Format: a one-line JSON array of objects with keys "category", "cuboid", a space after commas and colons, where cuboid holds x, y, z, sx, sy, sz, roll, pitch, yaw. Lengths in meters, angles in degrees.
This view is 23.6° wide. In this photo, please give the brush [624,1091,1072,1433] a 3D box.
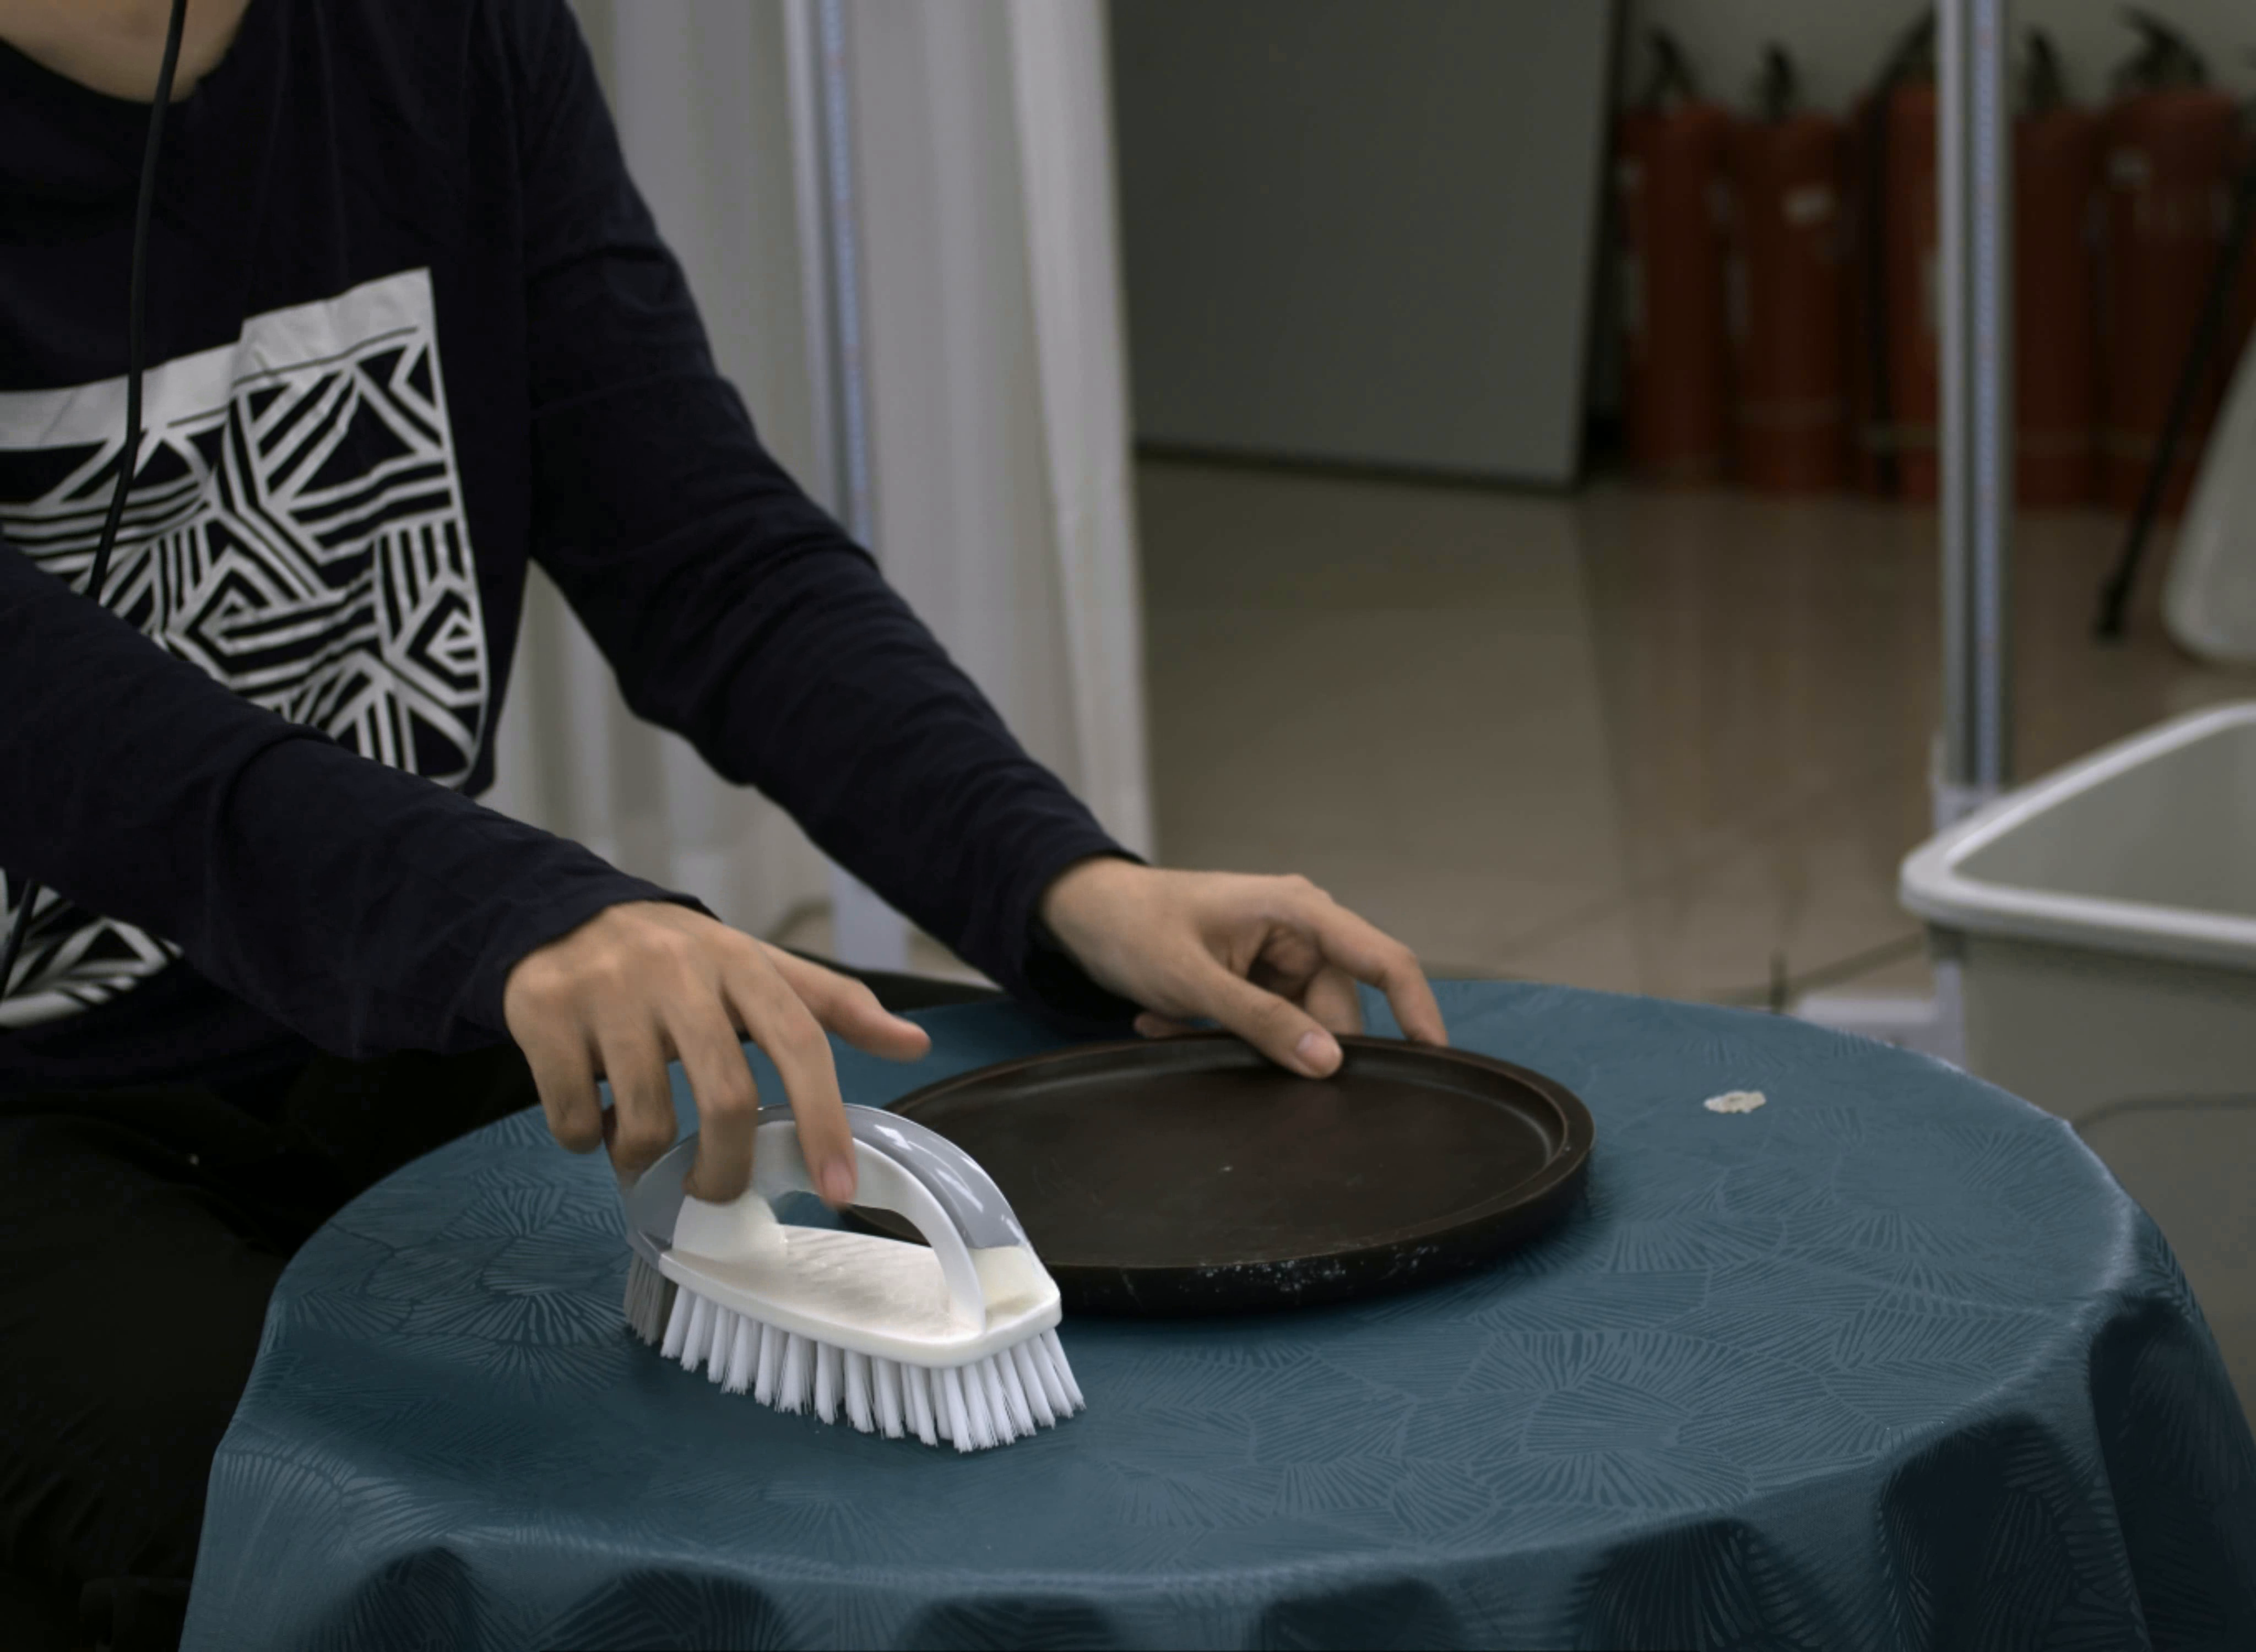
[{"category": "brush", "cuboid": [-0.095, 0.124, 1.601, 0.060, 0.095, 0.177, -16, 16, -43]}]

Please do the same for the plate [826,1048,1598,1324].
[{"category": "plate", "cuboid": [0.027, 0.114, 1.752, 0.251, 0.029, 0.255, -3, 15, 0]}]
